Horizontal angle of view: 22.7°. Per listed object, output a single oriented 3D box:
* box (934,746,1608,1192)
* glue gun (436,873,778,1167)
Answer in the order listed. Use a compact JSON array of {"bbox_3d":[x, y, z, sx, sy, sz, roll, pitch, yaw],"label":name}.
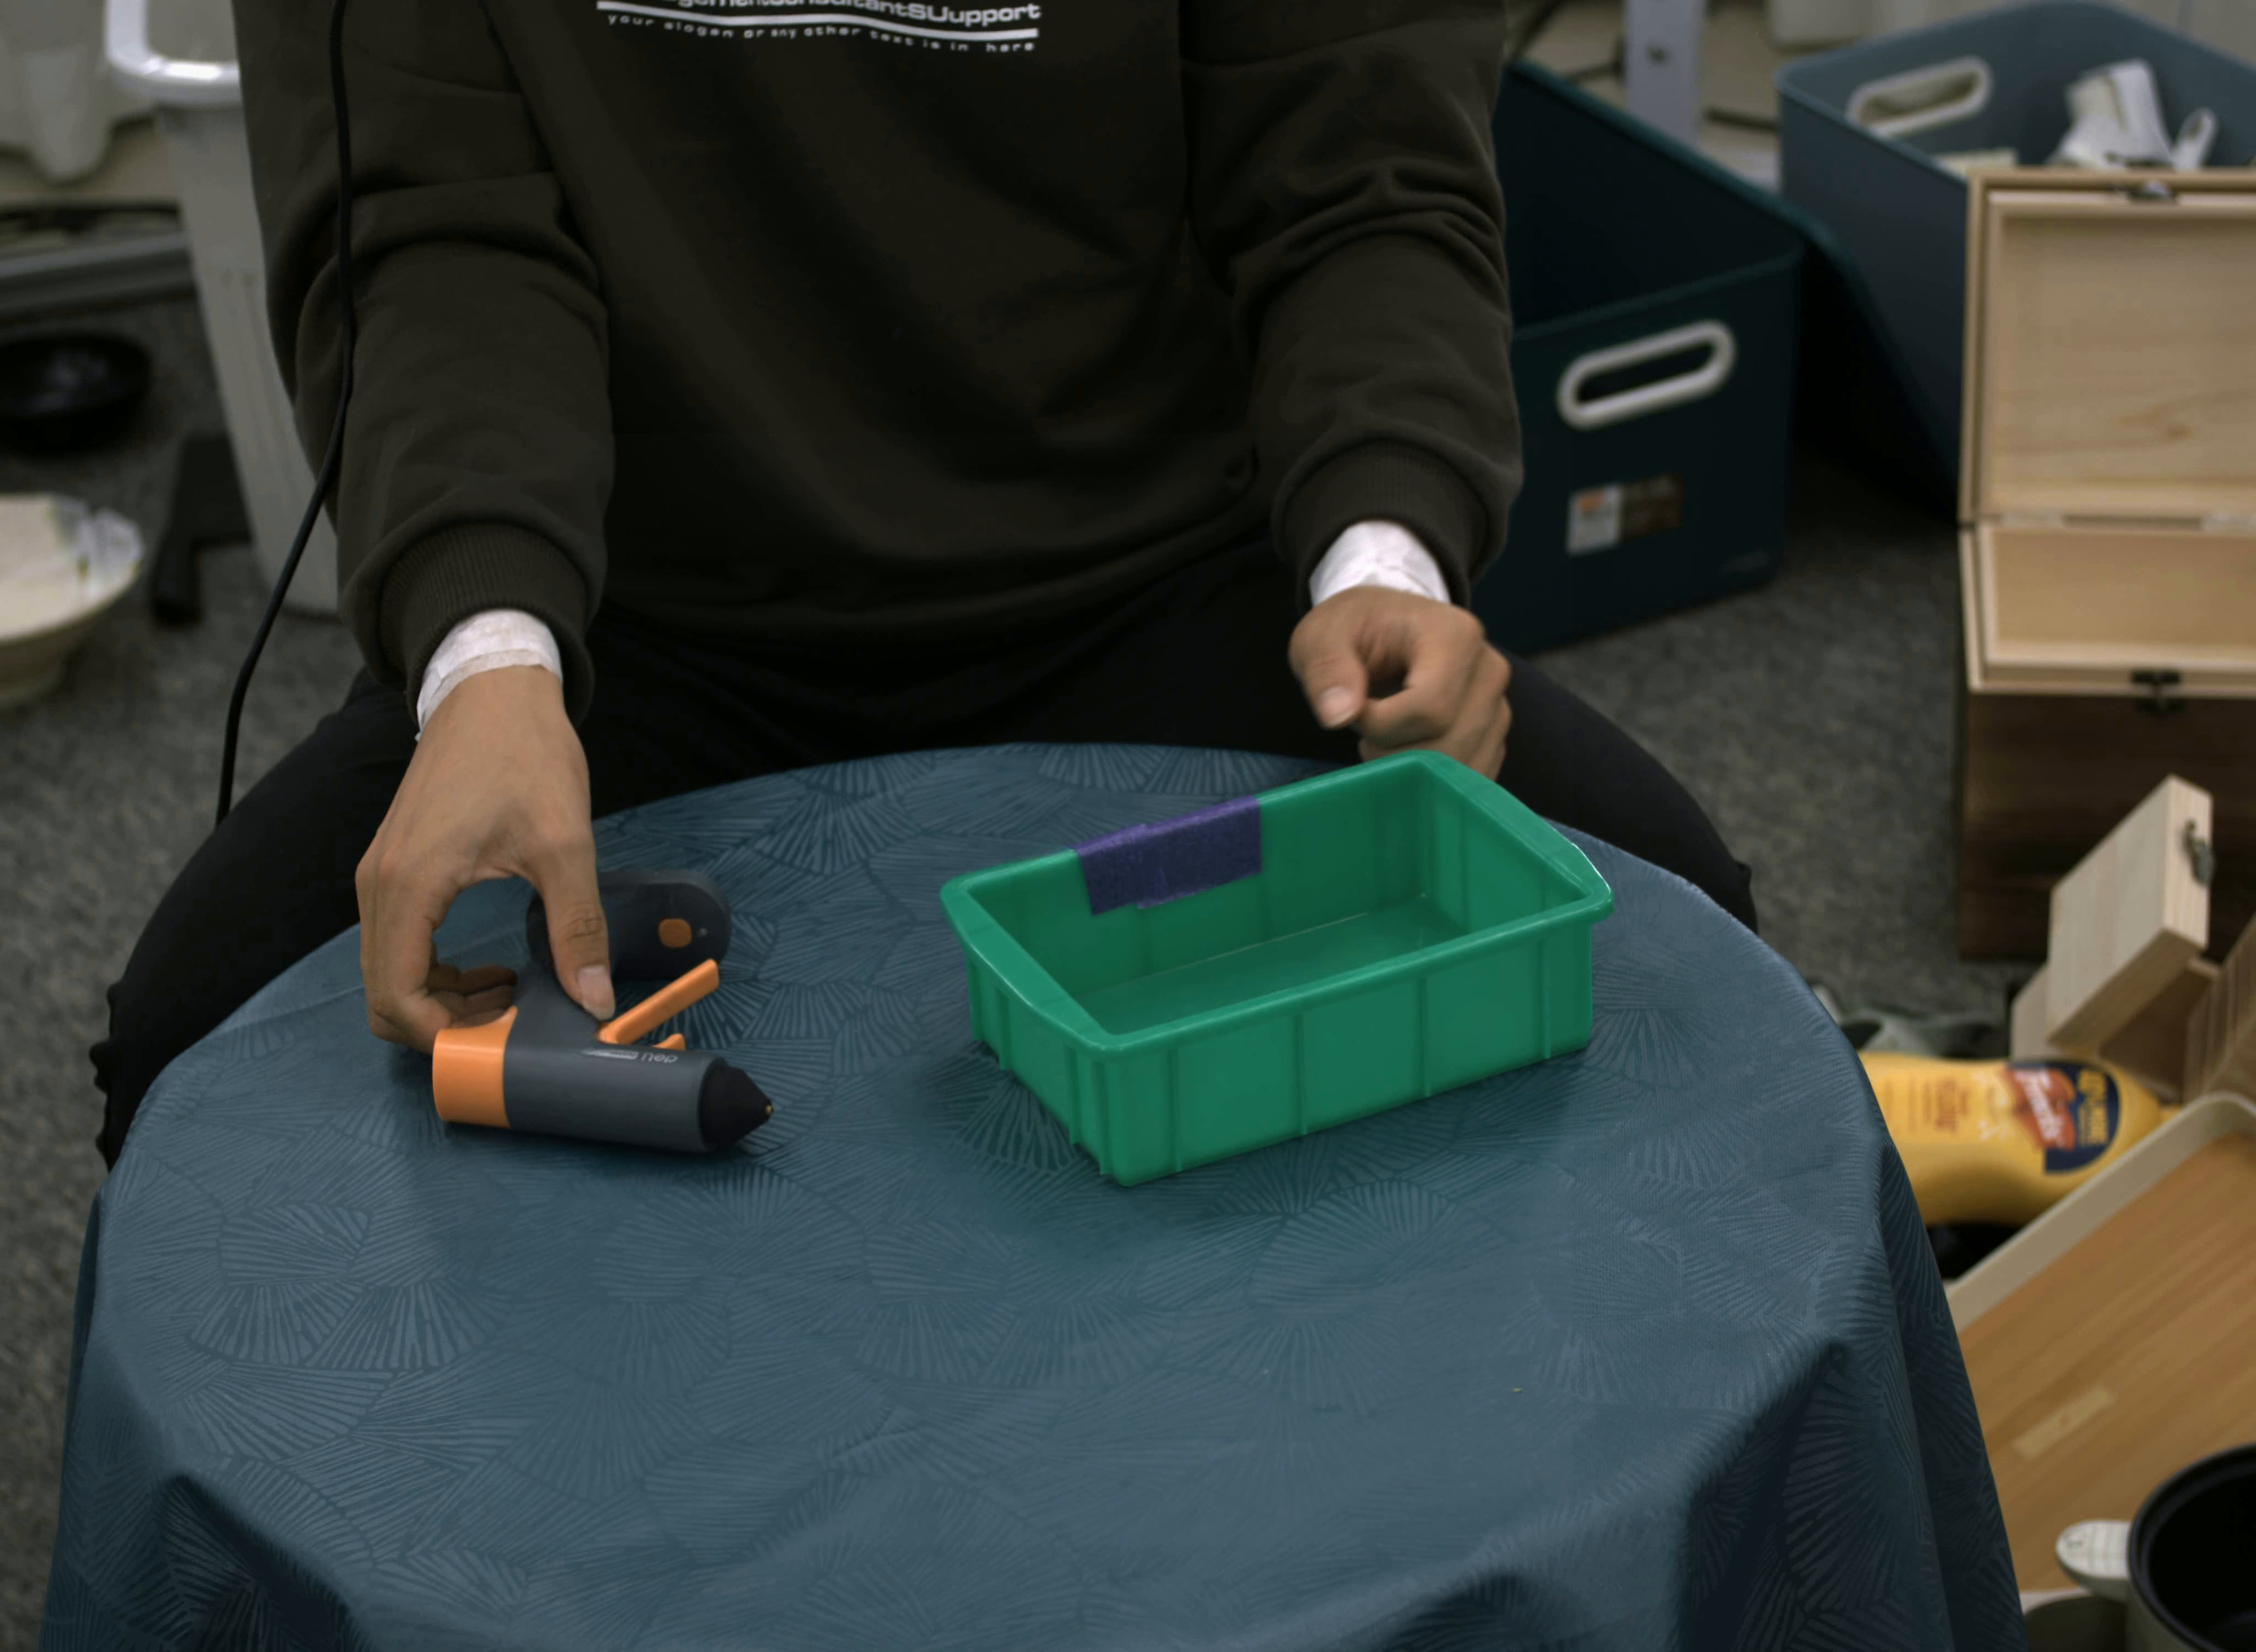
[{"bbox_3d":[0.050,0.050,1.934,0.211,0.064,0.139,-18,30,-22],"label":"box"},{"bbox_3d":[-0.176,0.070,1.948,0.117,0.040,0.142,2,30,-1],"label":"glue gun"}]
